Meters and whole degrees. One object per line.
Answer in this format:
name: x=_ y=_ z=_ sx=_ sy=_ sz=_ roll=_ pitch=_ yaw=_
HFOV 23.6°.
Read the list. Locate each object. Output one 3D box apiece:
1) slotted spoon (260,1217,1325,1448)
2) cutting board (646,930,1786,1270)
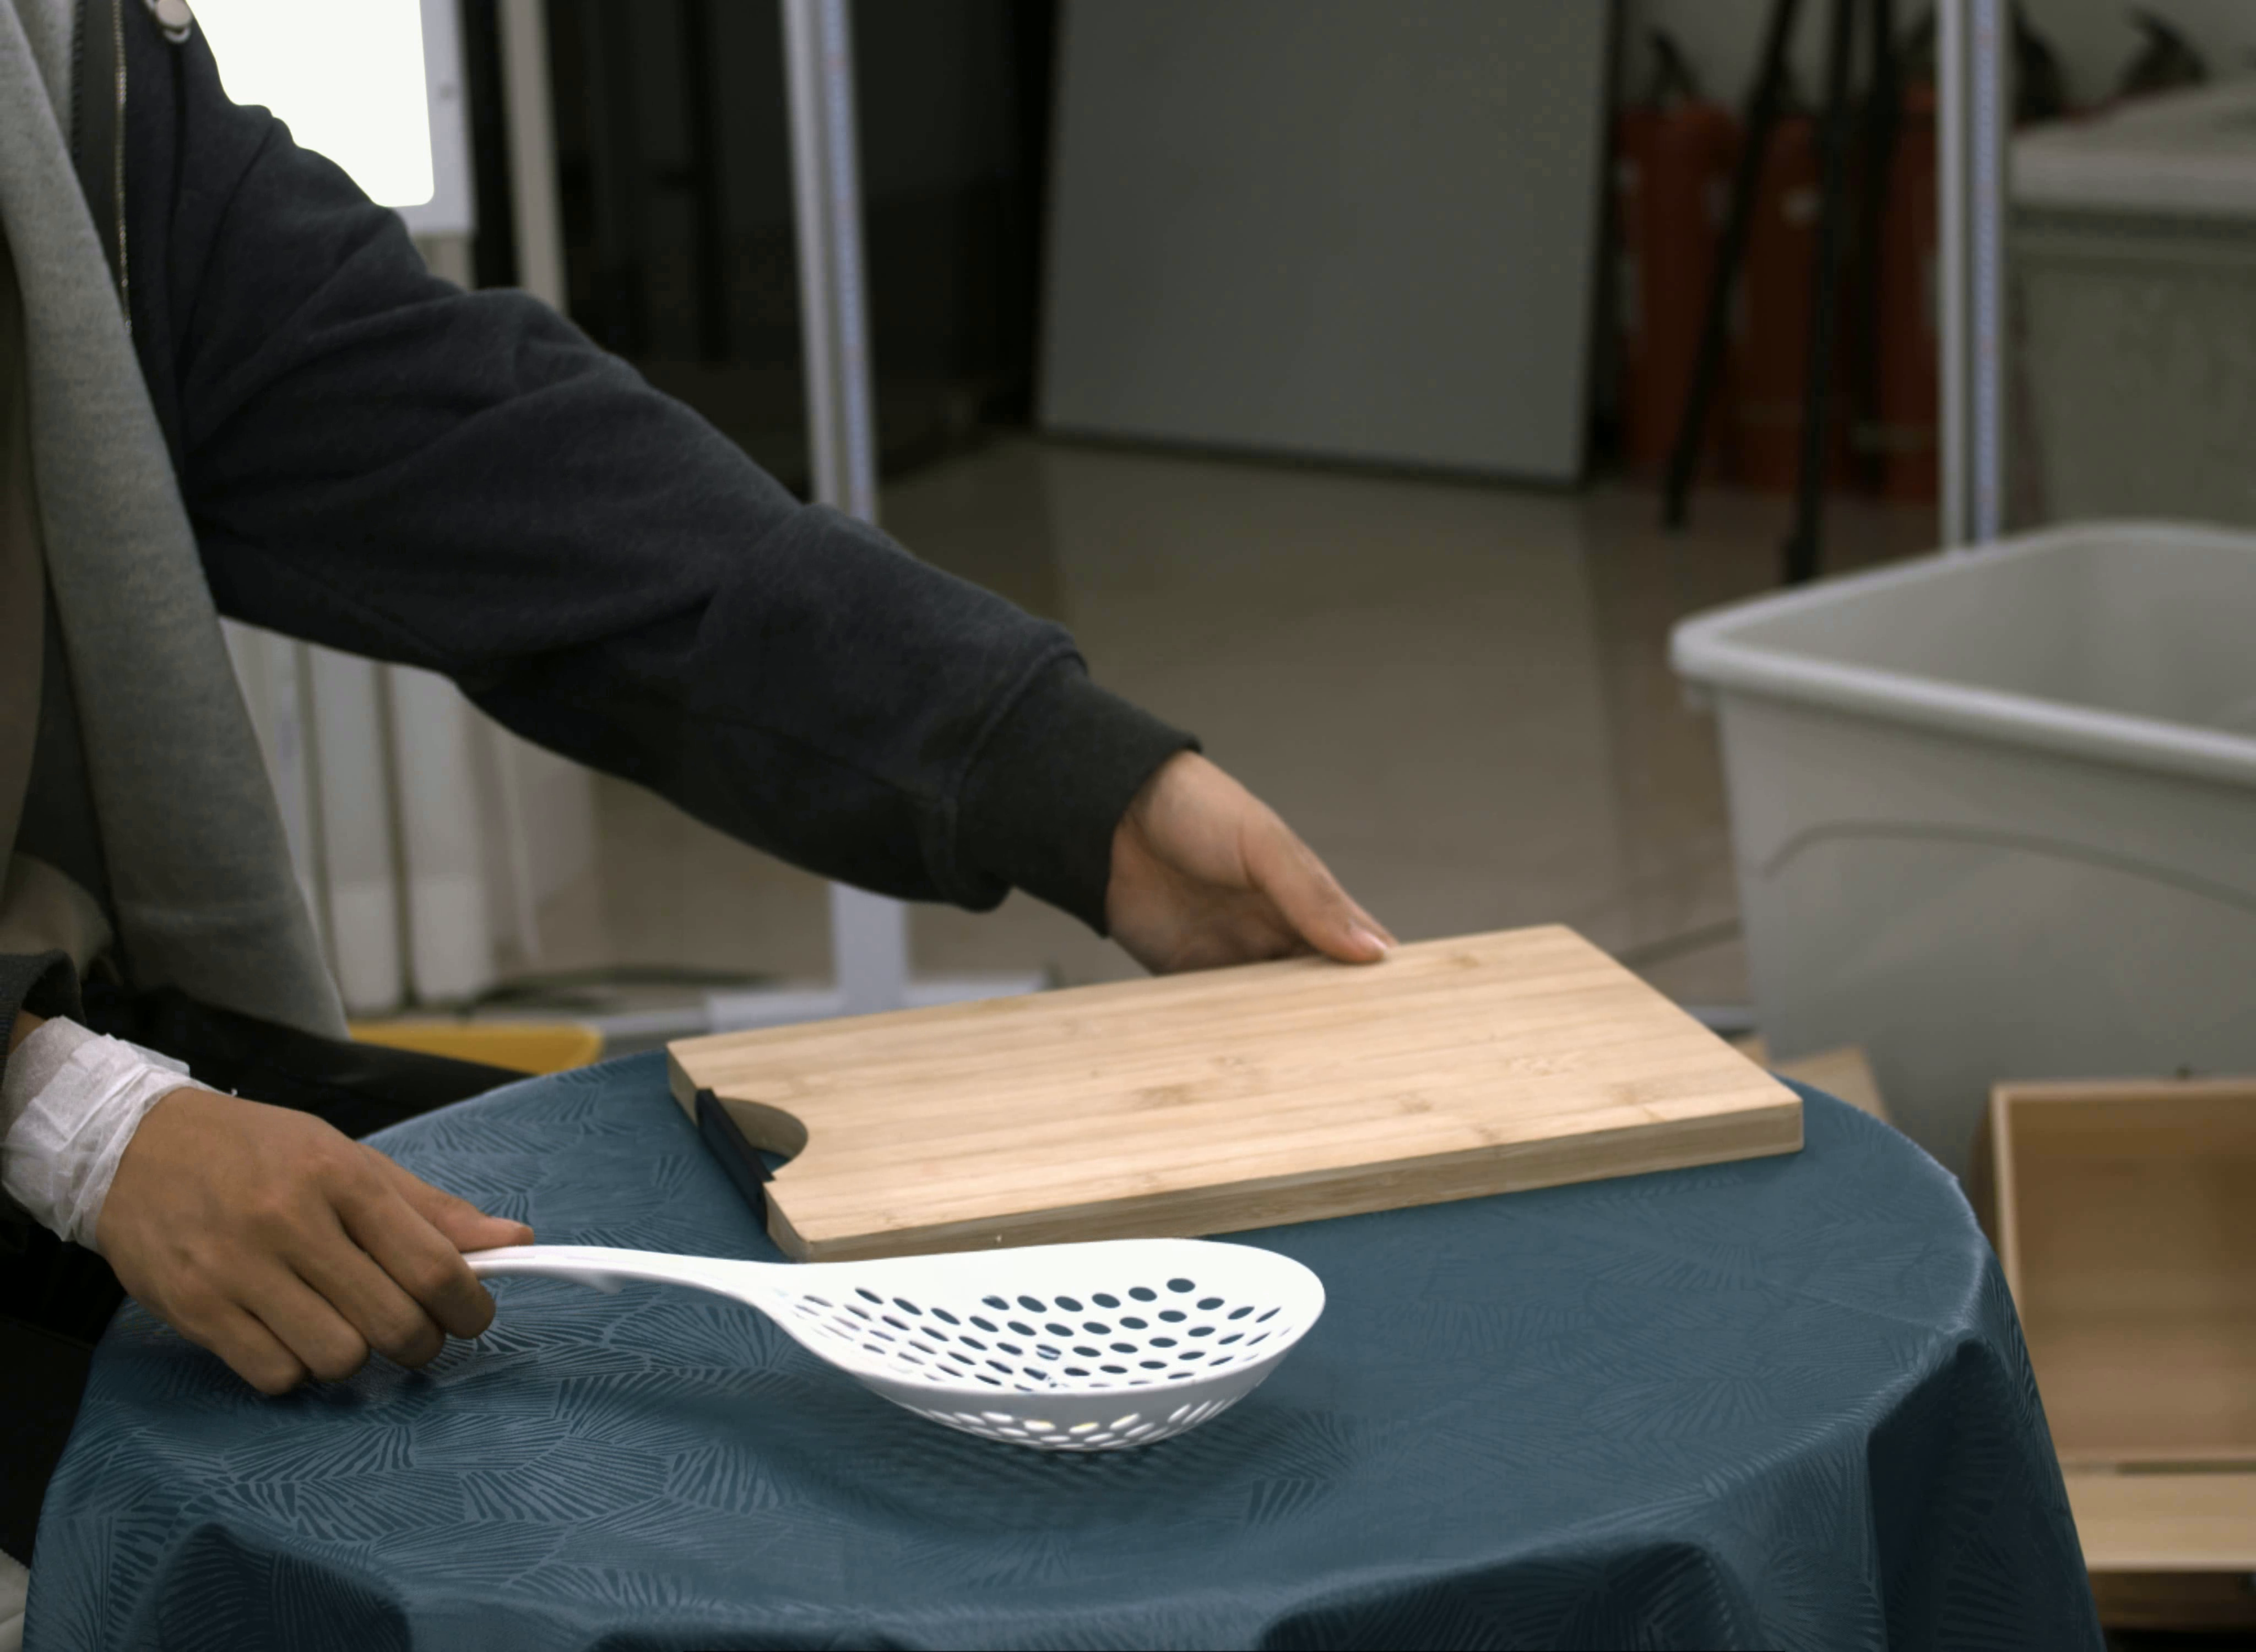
slotted spoon: x=-0.107 y=0.146 z=1.596 sx=0.348 sy=0.051 sz=0.135 roll=5 pitch=17 yaw=26
cutting board: x=0.026 y=0.095 z=1.836 sx=0.342 sy=0.024 sz=0.252 roll=-8 pitch=14 yaw=-14
